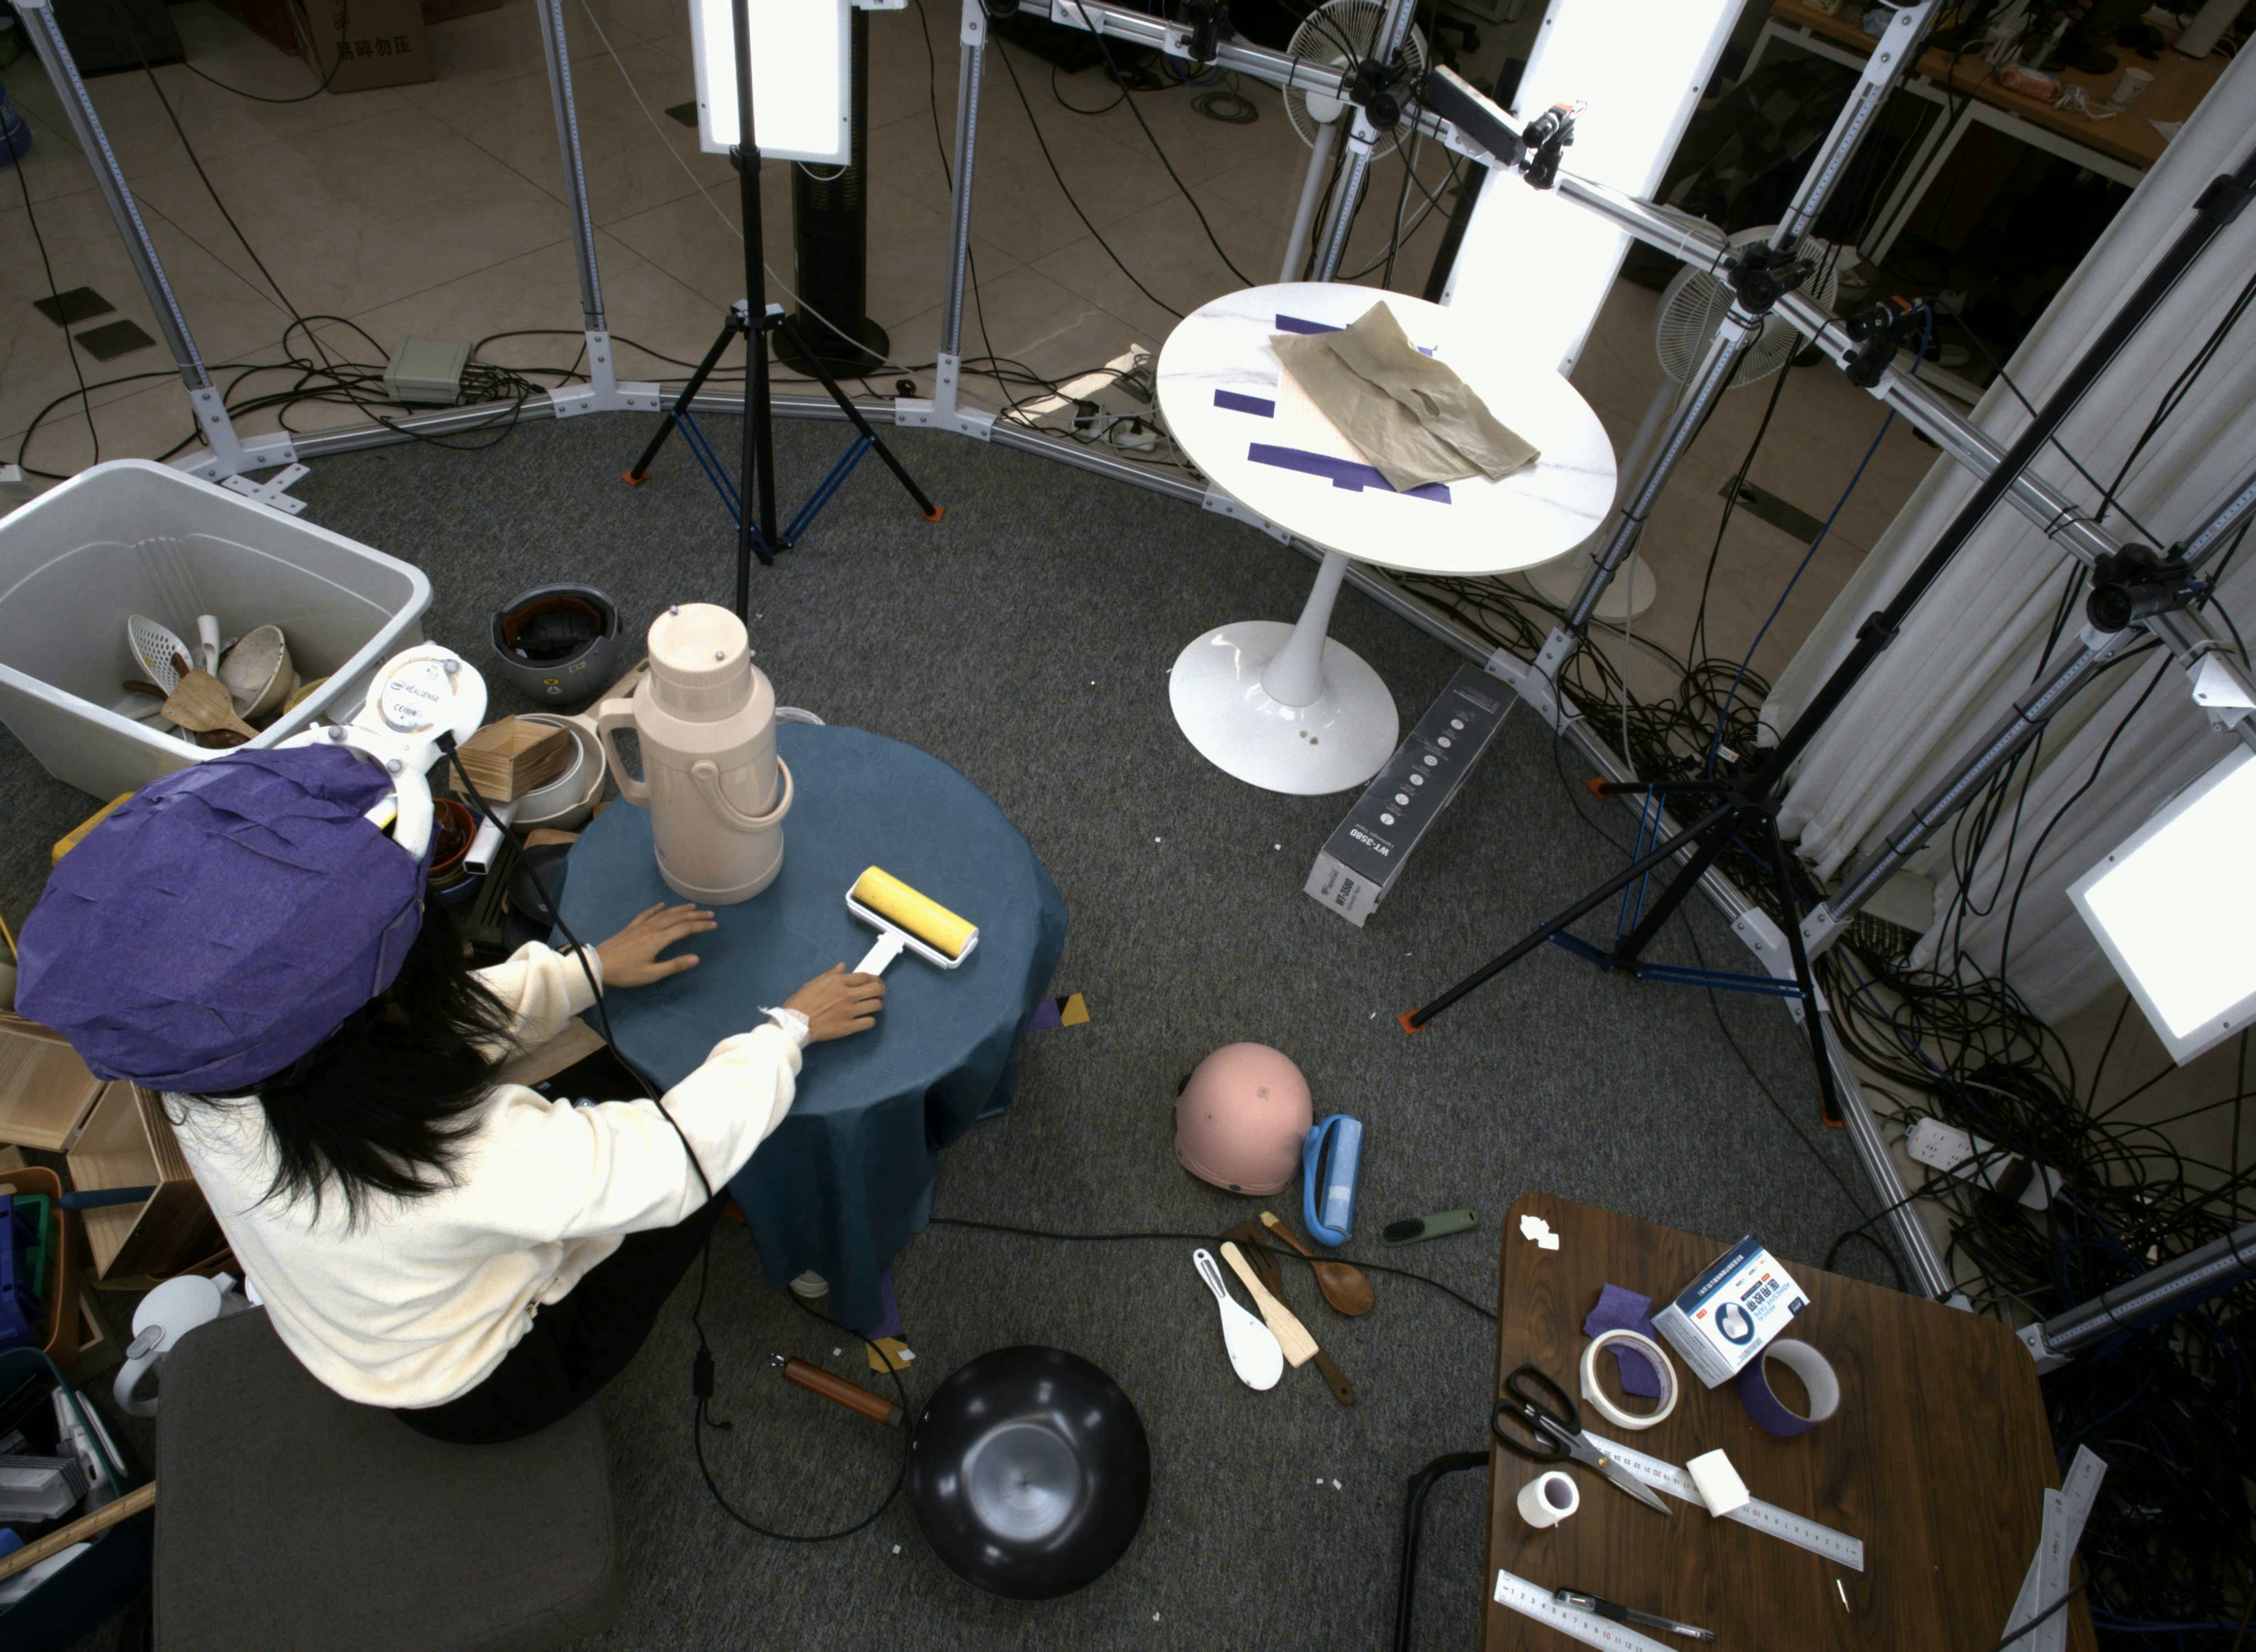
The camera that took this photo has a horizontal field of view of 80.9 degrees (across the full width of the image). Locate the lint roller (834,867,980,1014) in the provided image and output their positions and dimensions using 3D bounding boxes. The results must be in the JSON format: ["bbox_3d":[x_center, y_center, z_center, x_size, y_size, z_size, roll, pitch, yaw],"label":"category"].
[{"bbox_3d":[-0.300,0.150,1.604,0.171,0.052,0.191,29,45,8],"label":"lint roller"}]

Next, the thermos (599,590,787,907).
[{"bbox_3d":[-0.507,-0.087,1.505,0.207,0.415,0.171,-4,54,-15],"label":"thermos"}]
